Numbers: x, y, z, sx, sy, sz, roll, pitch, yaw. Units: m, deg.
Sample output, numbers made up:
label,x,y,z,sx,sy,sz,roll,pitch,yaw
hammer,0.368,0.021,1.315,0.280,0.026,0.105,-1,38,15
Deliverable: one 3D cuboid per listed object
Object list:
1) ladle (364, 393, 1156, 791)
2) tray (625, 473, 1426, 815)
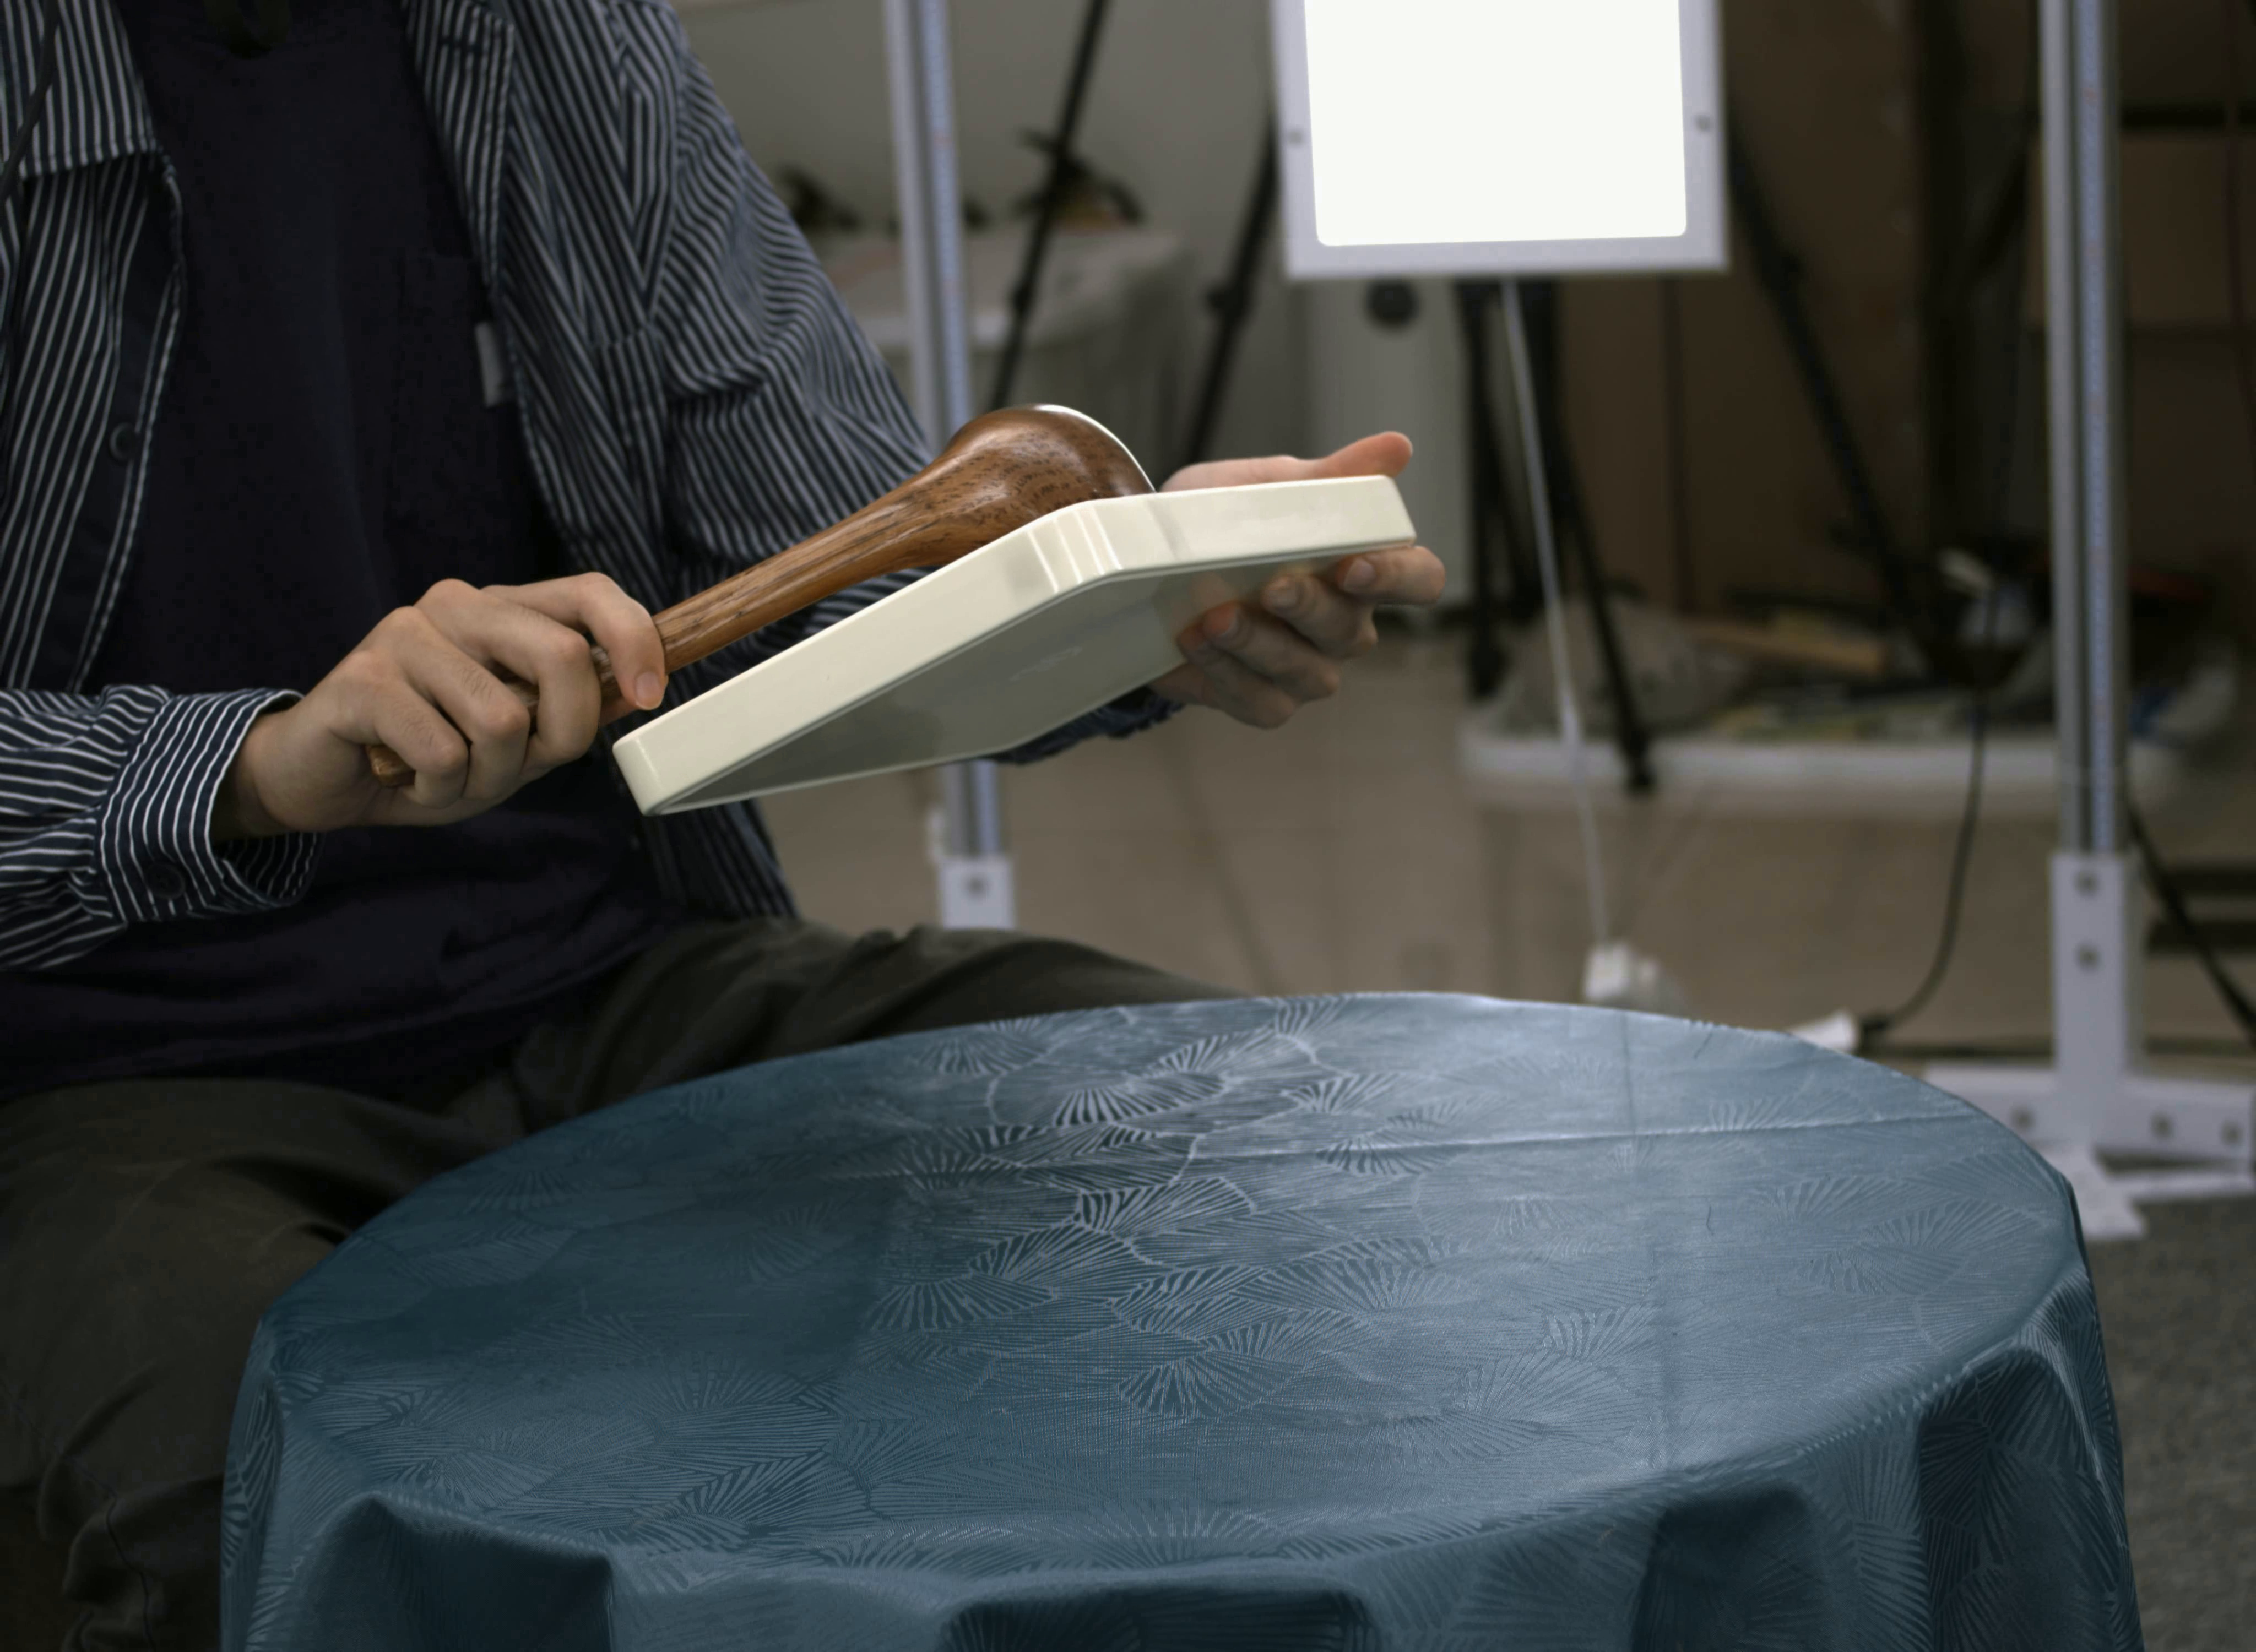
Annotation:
label,x,y,z,sx,sy,sz,roll,pitch,yaw
ladle,-0.120,-0.067,1.841,0.274,0.076,0.082,-25,57,5
tray,-0.028,-0.064,1.880,0.195,0.027,0.294,-27,-6,25
